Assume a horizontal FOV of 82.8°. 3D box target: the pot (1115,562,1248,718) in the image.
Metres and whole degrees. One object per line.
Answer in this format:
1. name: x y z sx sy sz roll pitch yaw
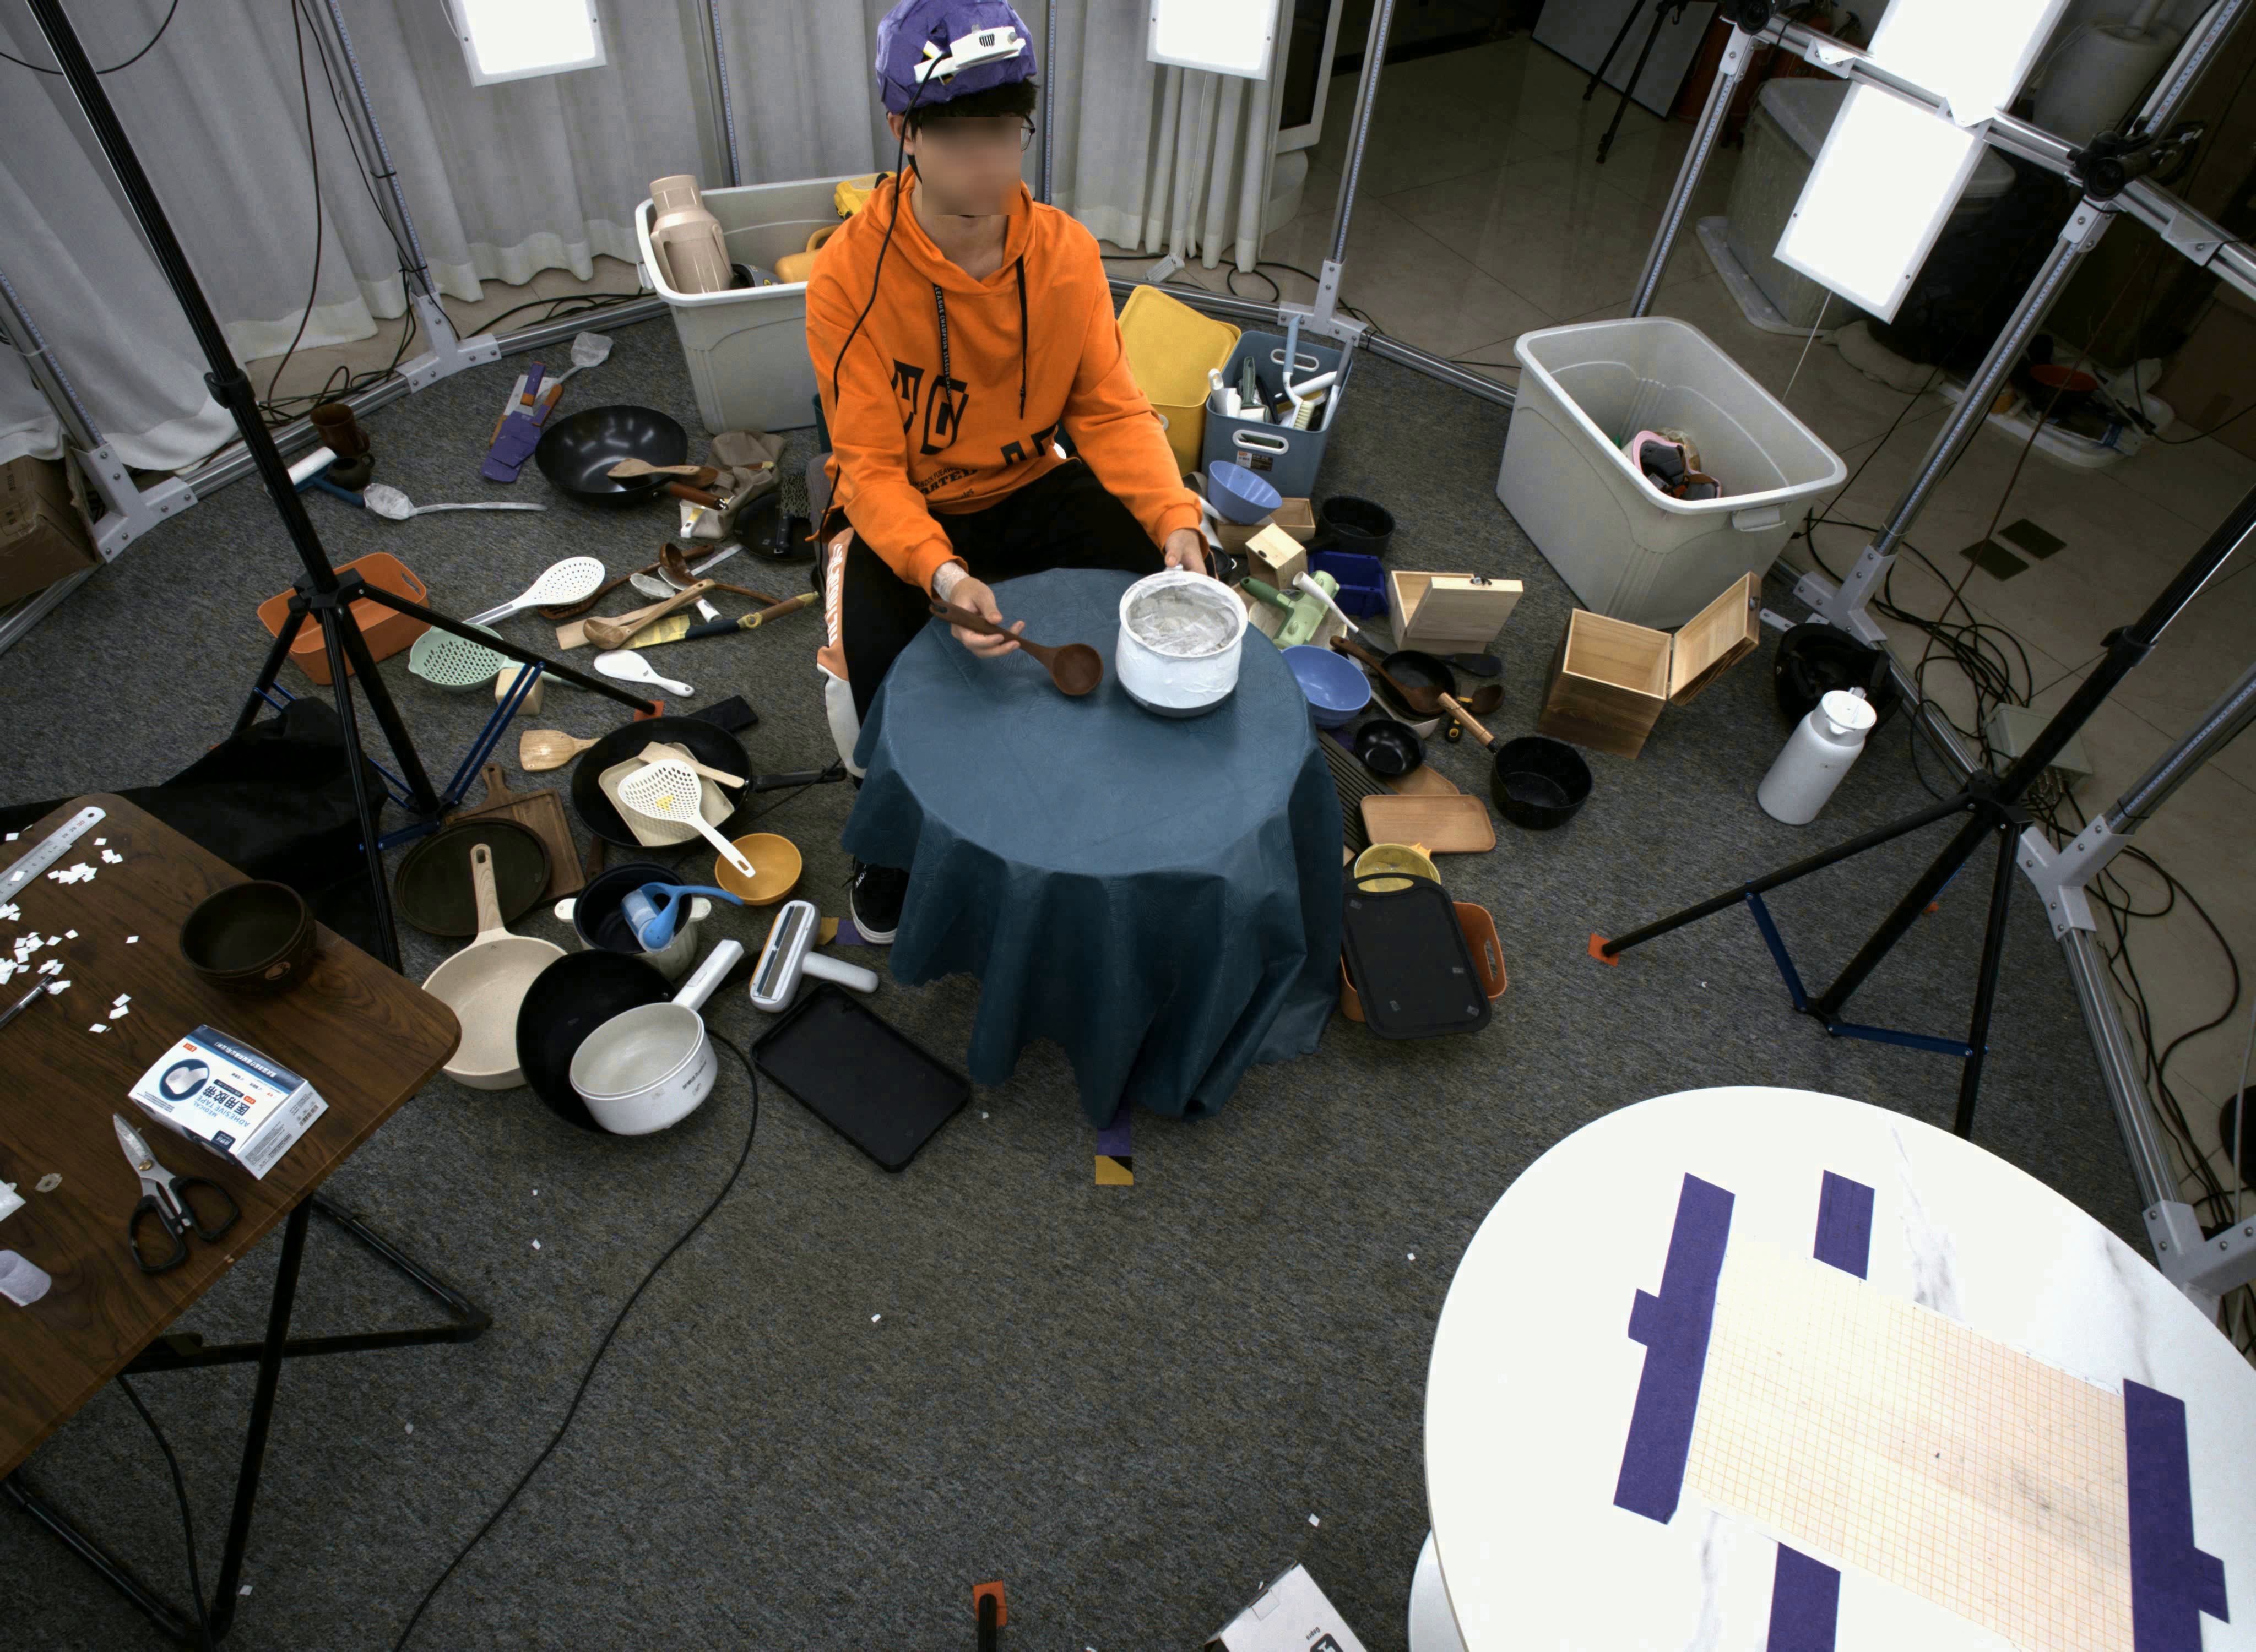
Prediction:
1. pot: 0.069 -0.273 1.821 0.178 0.133 0.239 -2 50 -7

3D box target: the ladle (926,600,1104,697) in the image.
1. ladle: -0.152 -0.253 1.778 0.257 0.065 0.077 23 84 -23
